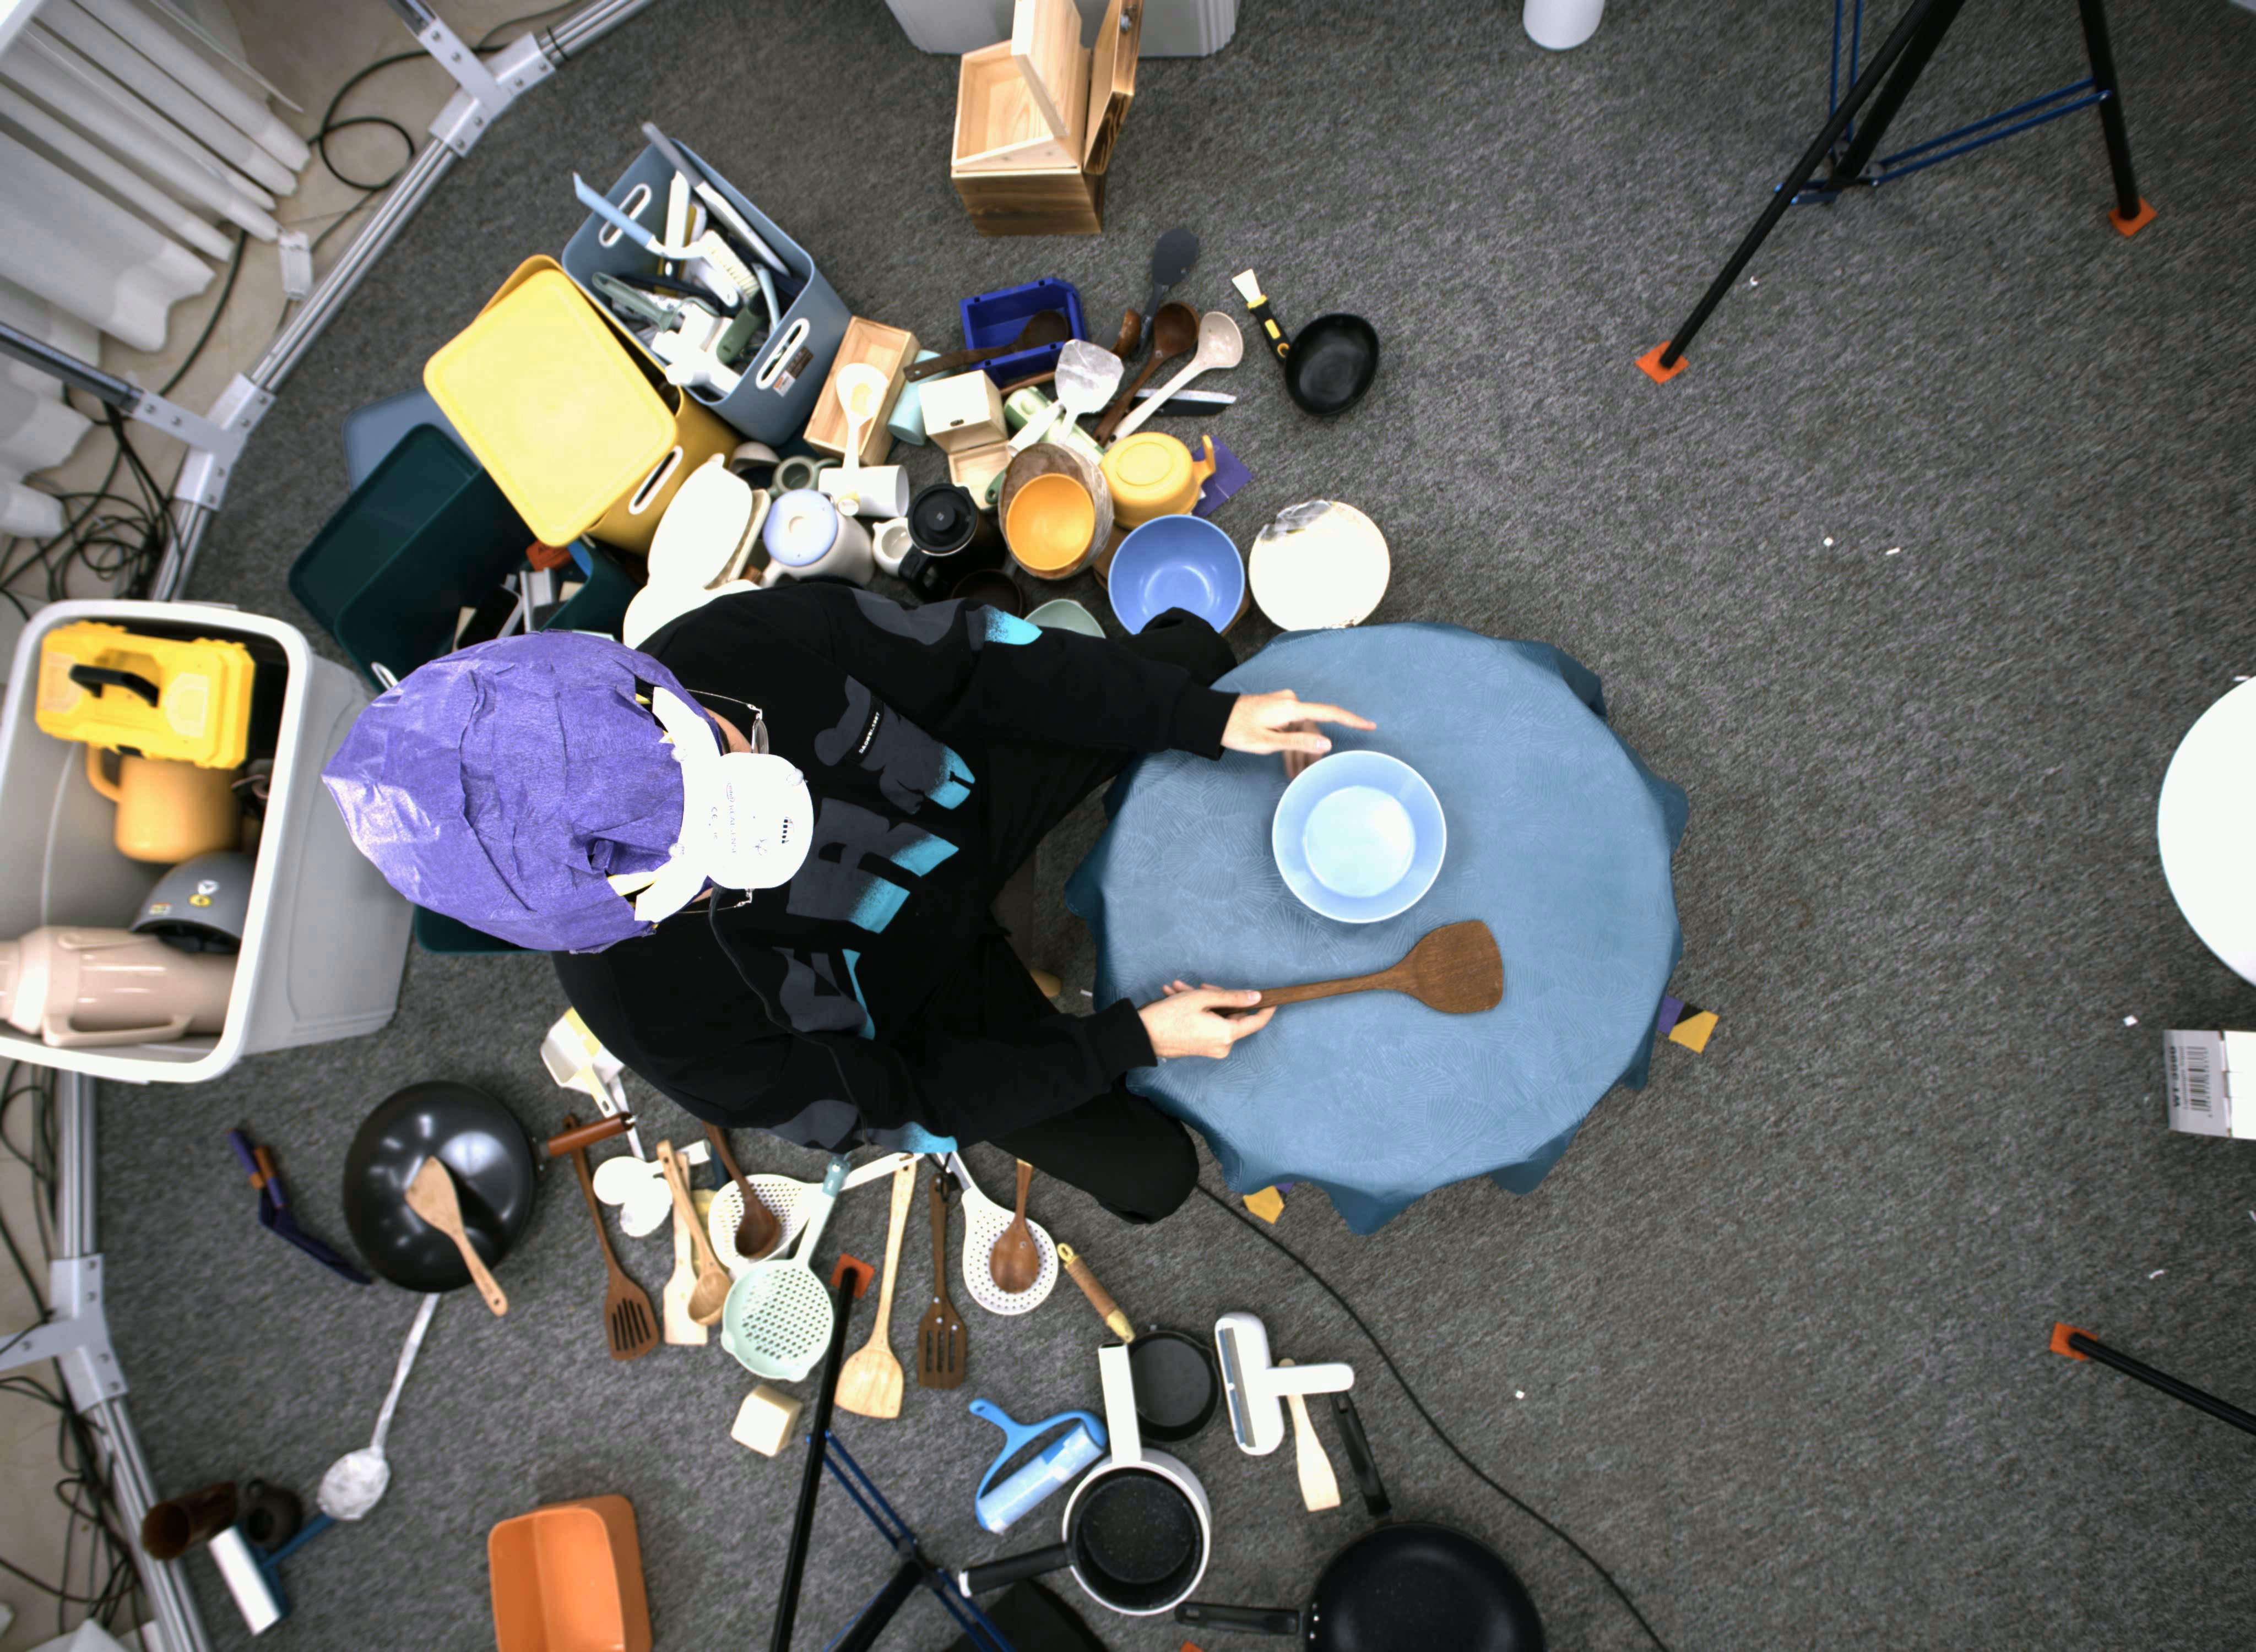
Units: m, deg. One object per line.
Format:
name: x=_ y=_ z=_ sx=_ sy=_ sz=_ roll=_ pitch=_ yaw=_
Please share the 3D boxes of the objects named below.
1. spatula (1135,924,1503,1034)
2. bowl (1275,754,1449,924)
spatula: x=0.198 y=0.174 z=1.446 sx=0.387 sy=0.016 sz=0.095 roll=-9 pitch=81 yaw=2
bowl: x=0.244 y=0.016 z=1.438 sx=0.177 sy=0.070 sz=0.175 roll=-1 pitch=86 yaw=12
